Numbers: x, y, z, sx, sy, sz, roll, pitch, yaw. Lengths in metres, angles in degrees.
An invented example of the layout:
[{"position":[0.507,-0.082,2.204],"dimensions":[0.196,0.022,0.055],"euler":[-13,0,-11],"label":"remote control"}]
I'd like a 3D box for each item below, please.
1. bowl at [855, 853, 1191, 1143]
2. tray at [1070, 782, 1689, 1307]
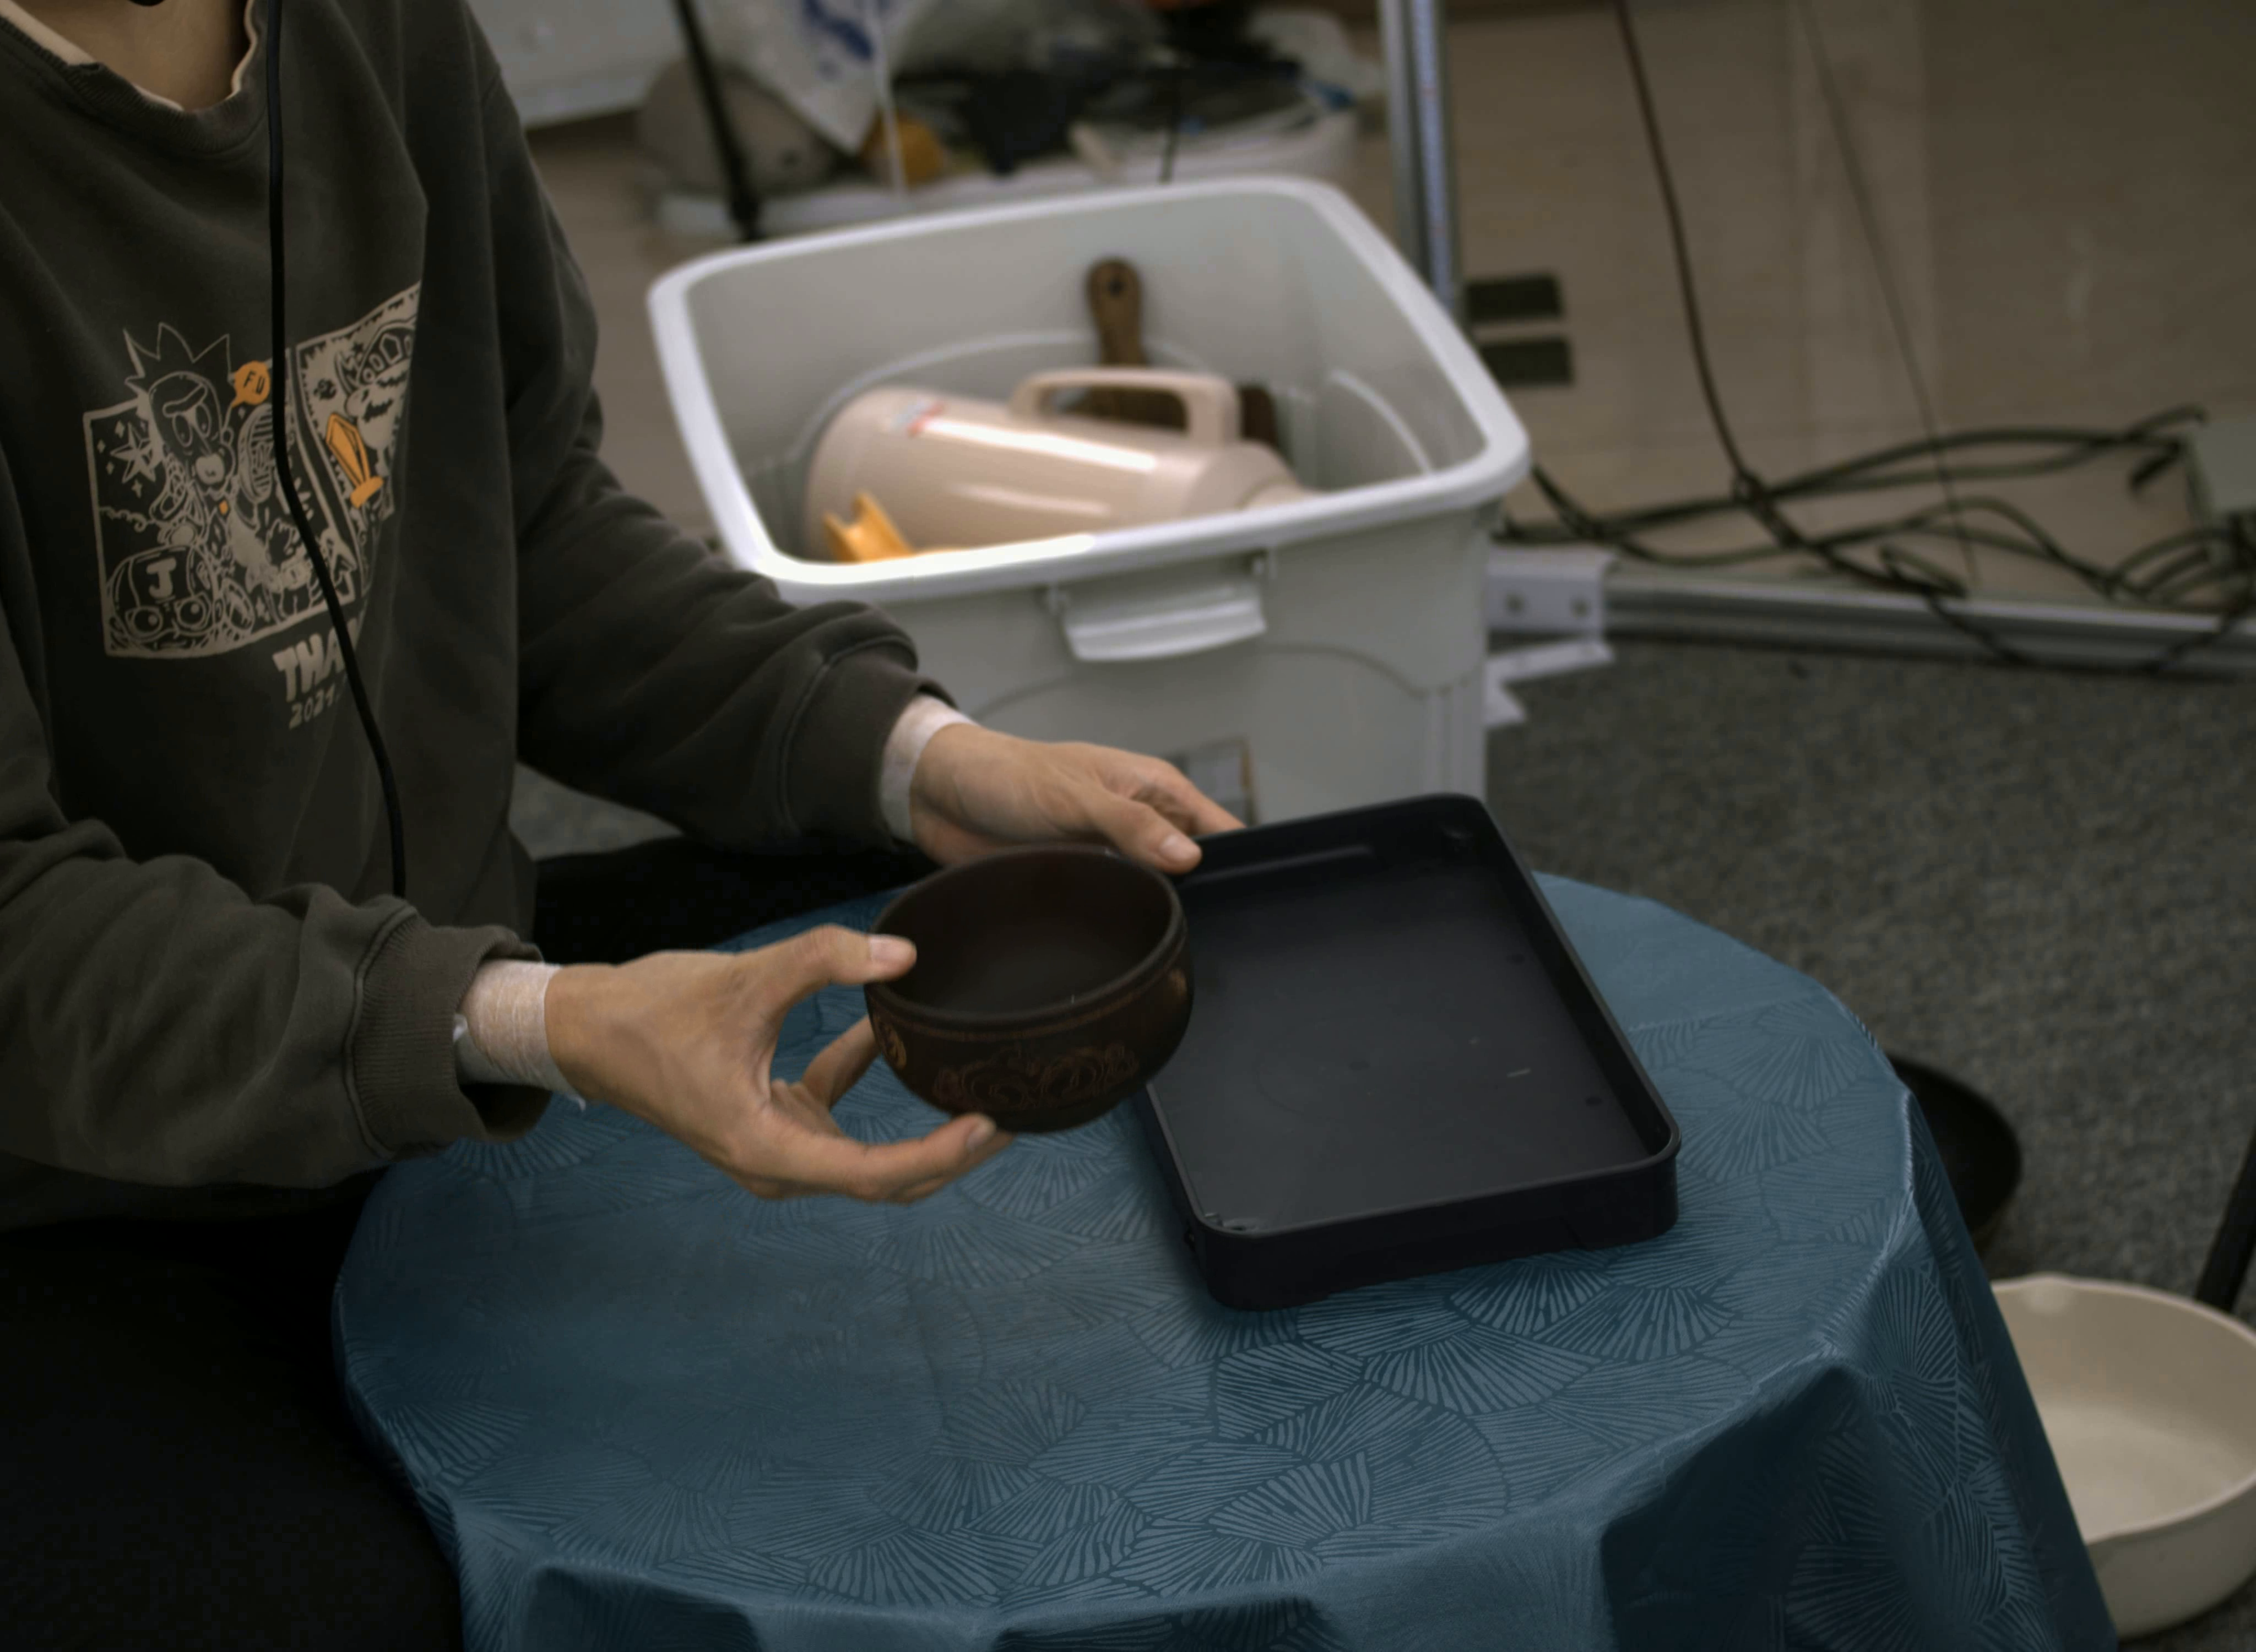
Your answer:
[{"position":[-0.034,0.068,2.007],"dimensions":[0.118,0.071,0.116],"euler":[-9,31,5],"label":"bowl"},{"position":[0.088,0.079,2.195],"dimensions":[0.184,0.037,0.313],"euler":[-12,28,-8],"label":"tray"}]
